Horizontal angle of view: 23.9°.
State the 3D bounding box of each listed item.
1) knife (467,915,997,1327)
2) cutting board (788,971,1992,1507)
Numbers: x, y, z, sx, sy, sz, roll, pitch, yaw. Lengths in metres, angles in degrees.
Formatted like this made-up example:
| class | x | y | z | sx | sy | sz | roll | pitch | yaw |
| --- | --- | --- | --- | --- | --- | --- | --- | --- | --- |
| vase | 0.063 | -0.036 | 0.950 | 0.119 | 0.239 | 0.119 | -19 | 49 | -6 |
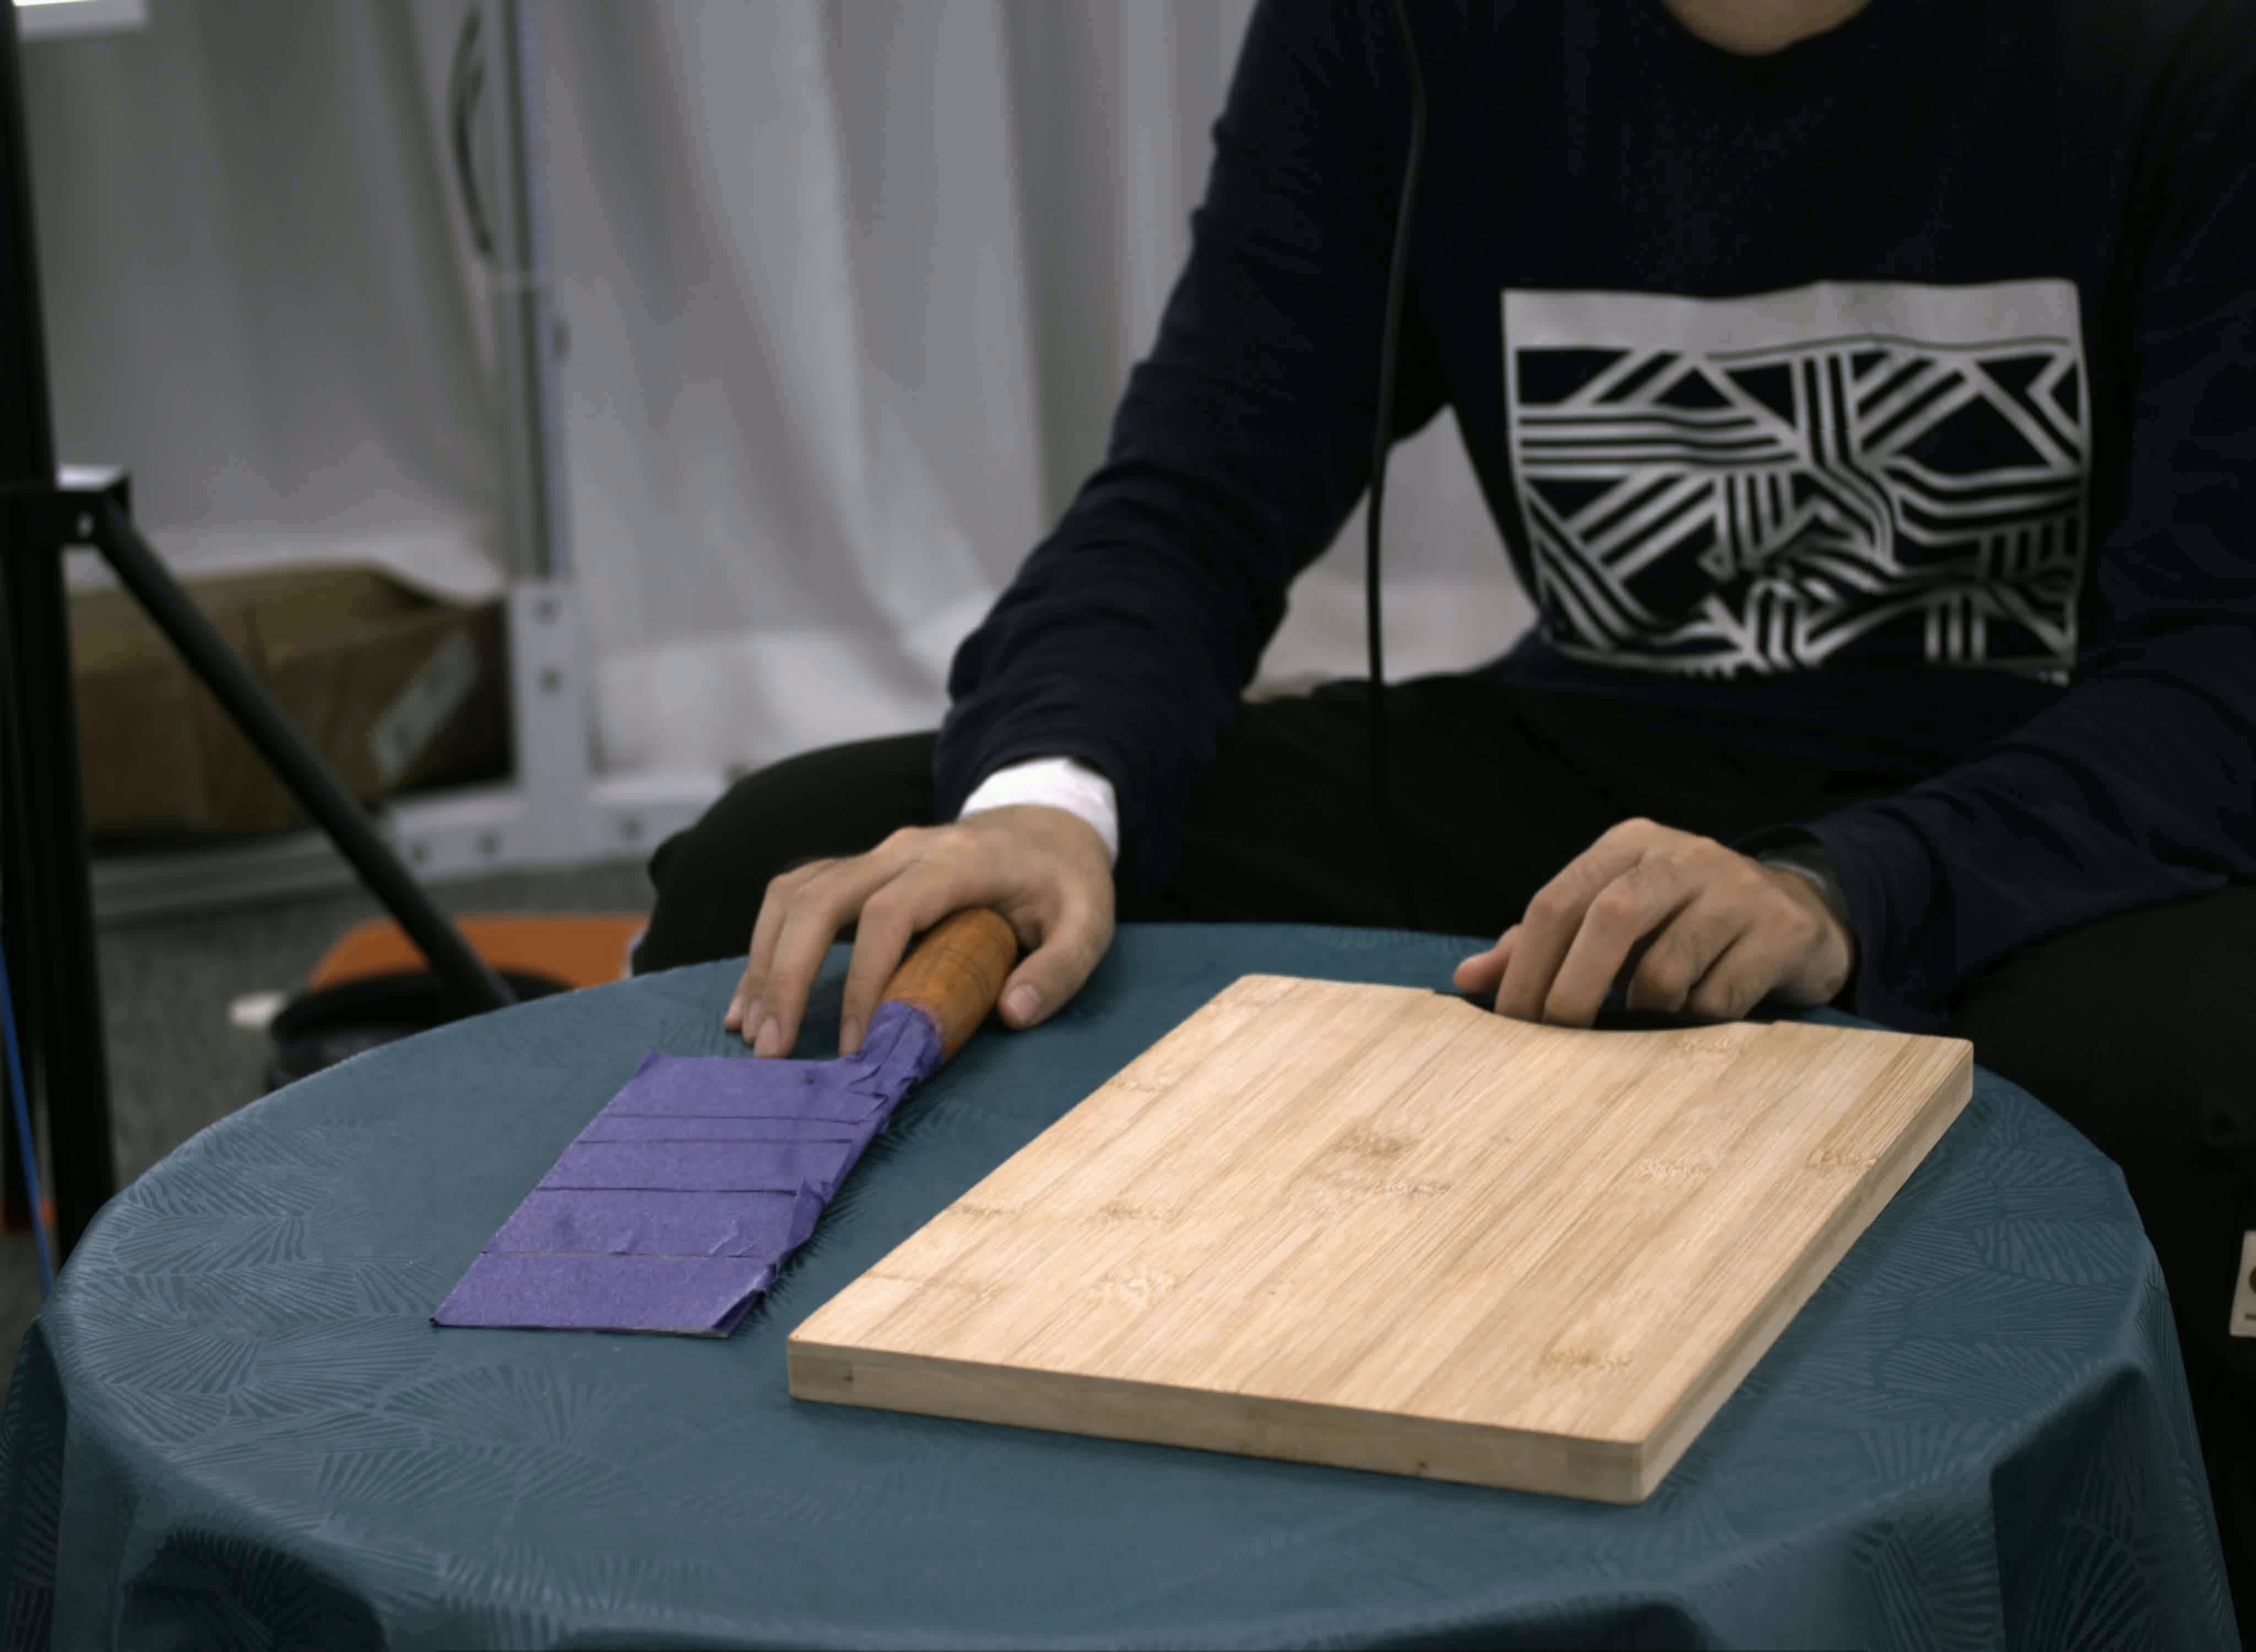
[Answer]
| class | x | y | z | sx | sy | sz | roll | pitch | yaw |
| --- | --- | --- | --- | --- | --- | --- | --- | --- | --- |
| knife | -0.116 | 0.086 | 1.609 | 0.104 | 0.032 | 0.313 | 2 | 17 | 12 |
| cutting board | 0.086 | 0.109 | 1.516 | 0.254 | 0.023 | 0.344 | 4 | 17 | 23 |
